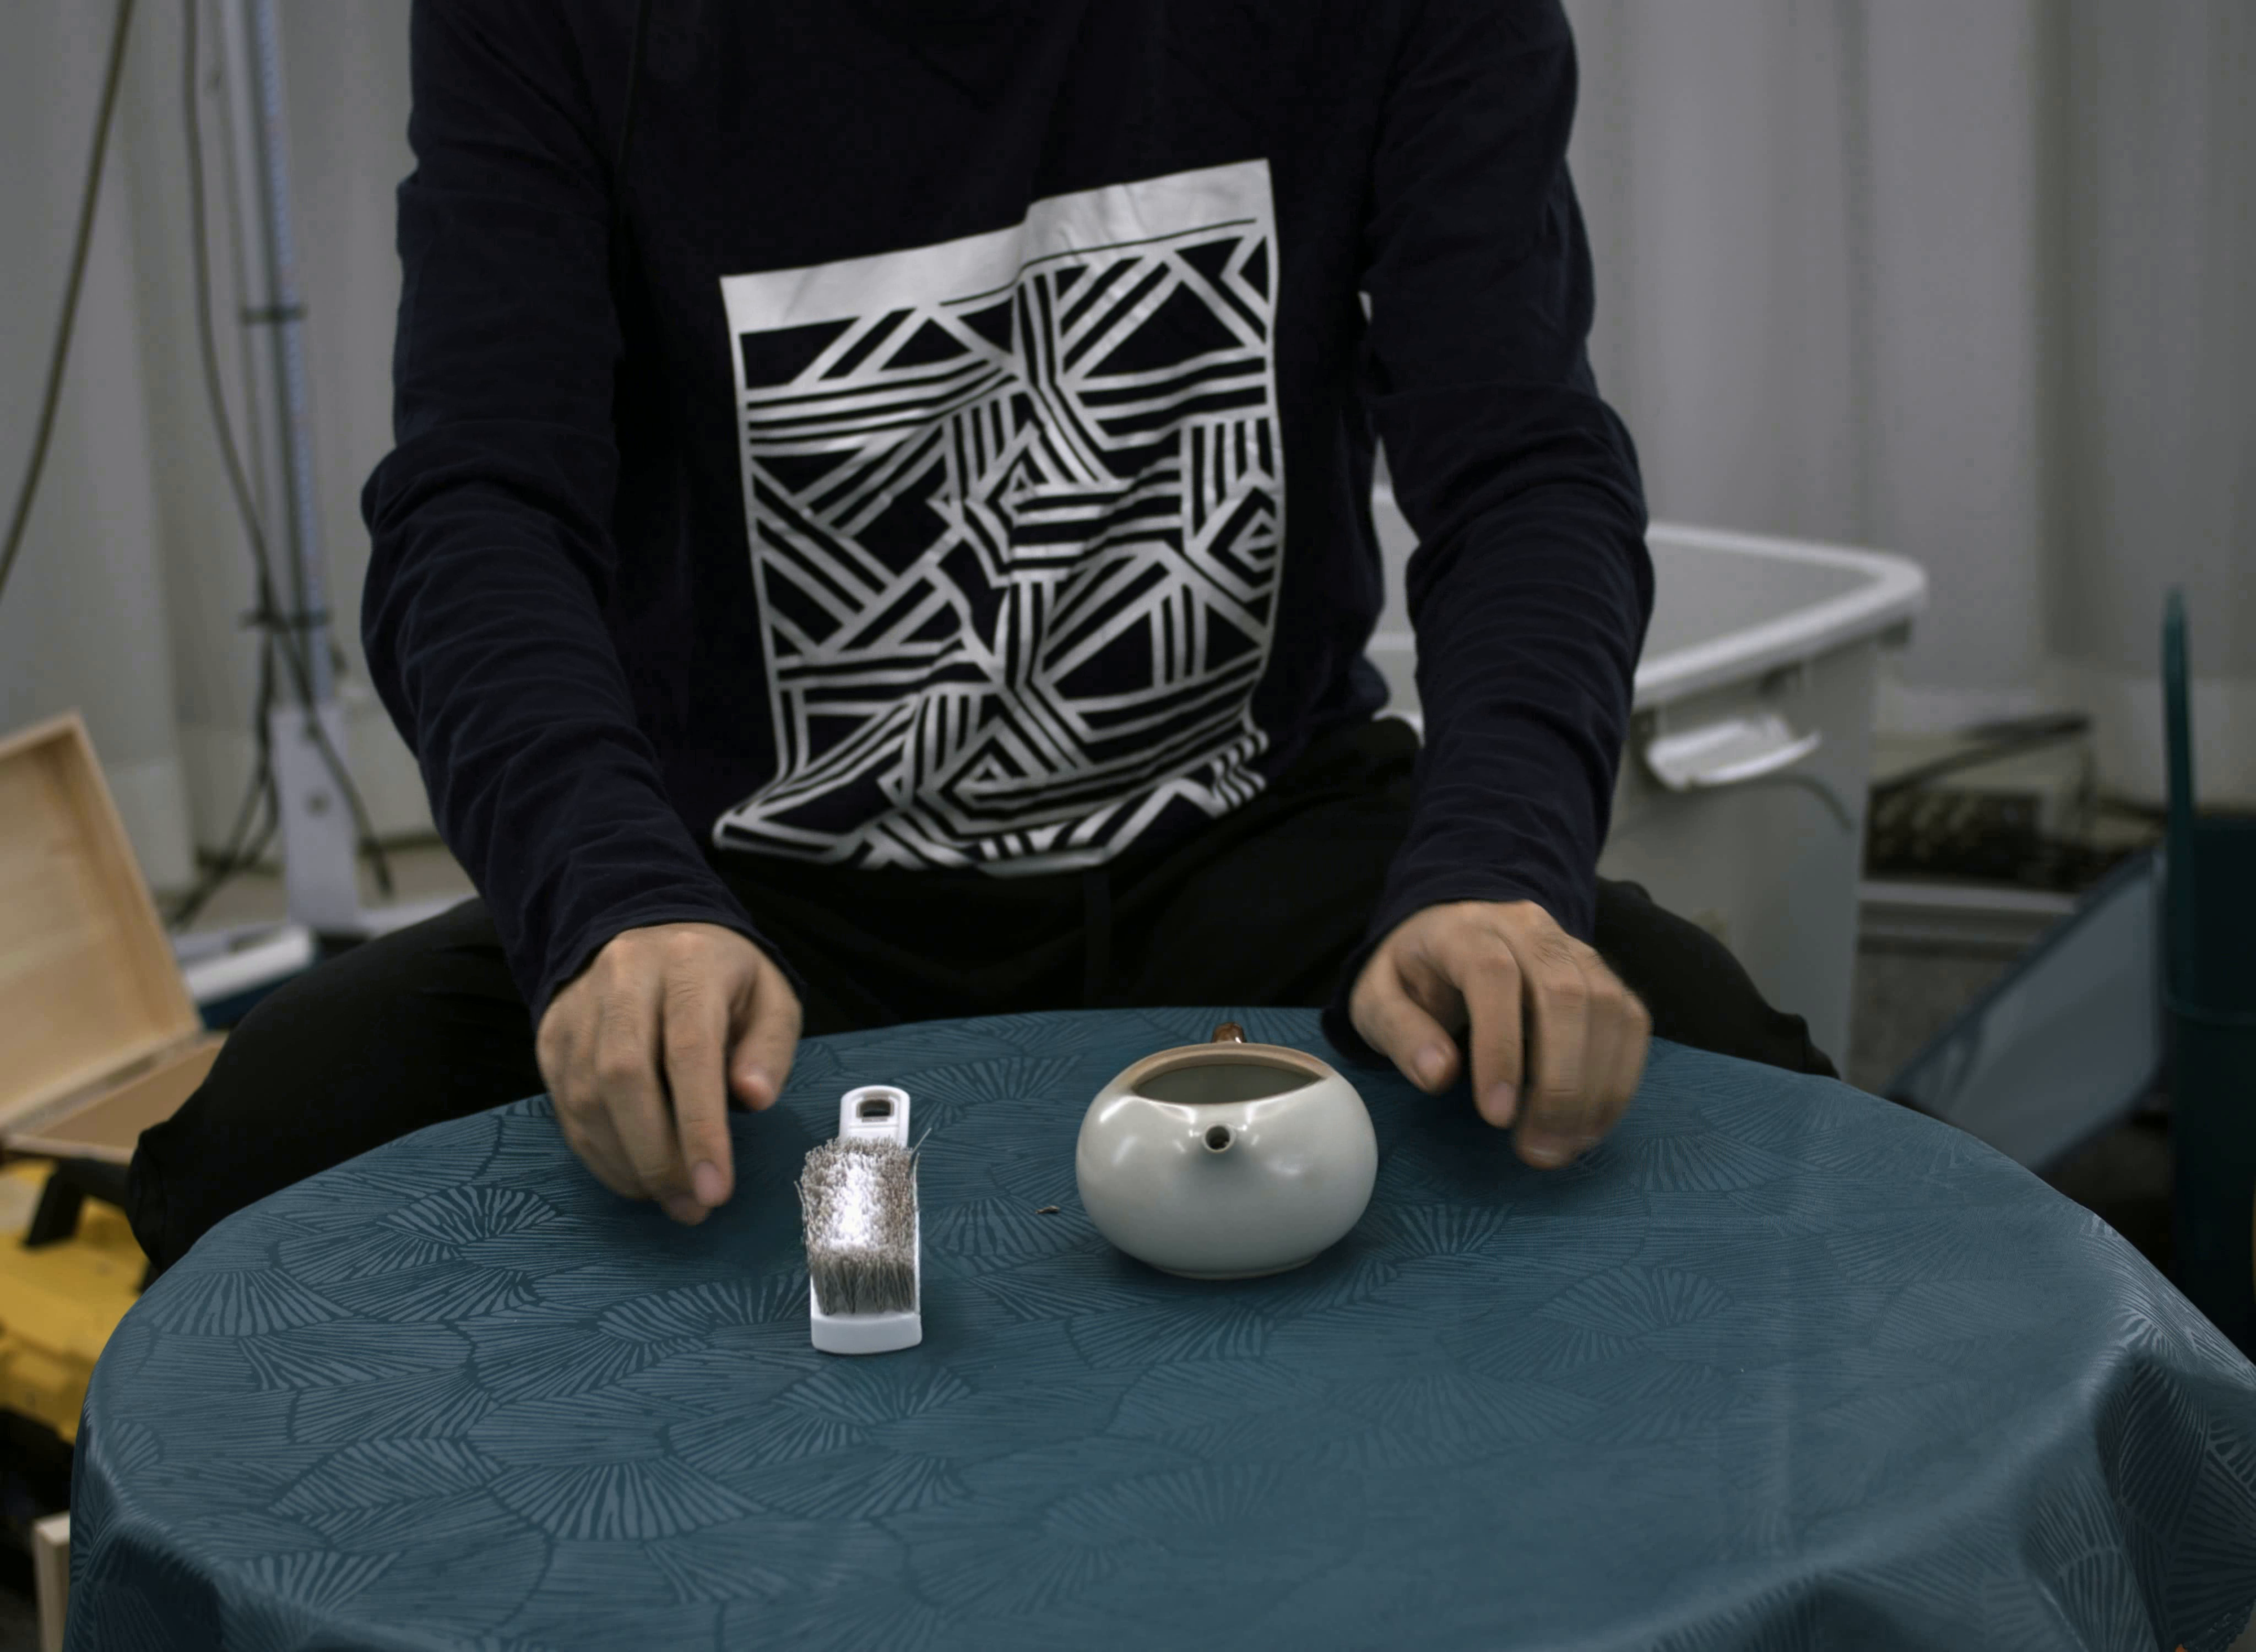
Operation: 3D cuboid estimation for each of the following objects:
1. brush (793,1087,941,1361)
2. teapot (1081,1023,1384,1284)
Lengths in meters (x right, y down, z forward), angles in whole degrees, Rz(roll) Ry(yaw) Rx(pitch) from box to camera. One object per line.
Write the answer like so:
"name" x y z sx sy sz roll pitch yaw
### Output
"brush" -0.077 0.103 1.685 0.034 0.050 0.245 -5 15 3
"teapot" 0.032 0.099 1.659 0.091 0.059 0.129 -6 15 2
